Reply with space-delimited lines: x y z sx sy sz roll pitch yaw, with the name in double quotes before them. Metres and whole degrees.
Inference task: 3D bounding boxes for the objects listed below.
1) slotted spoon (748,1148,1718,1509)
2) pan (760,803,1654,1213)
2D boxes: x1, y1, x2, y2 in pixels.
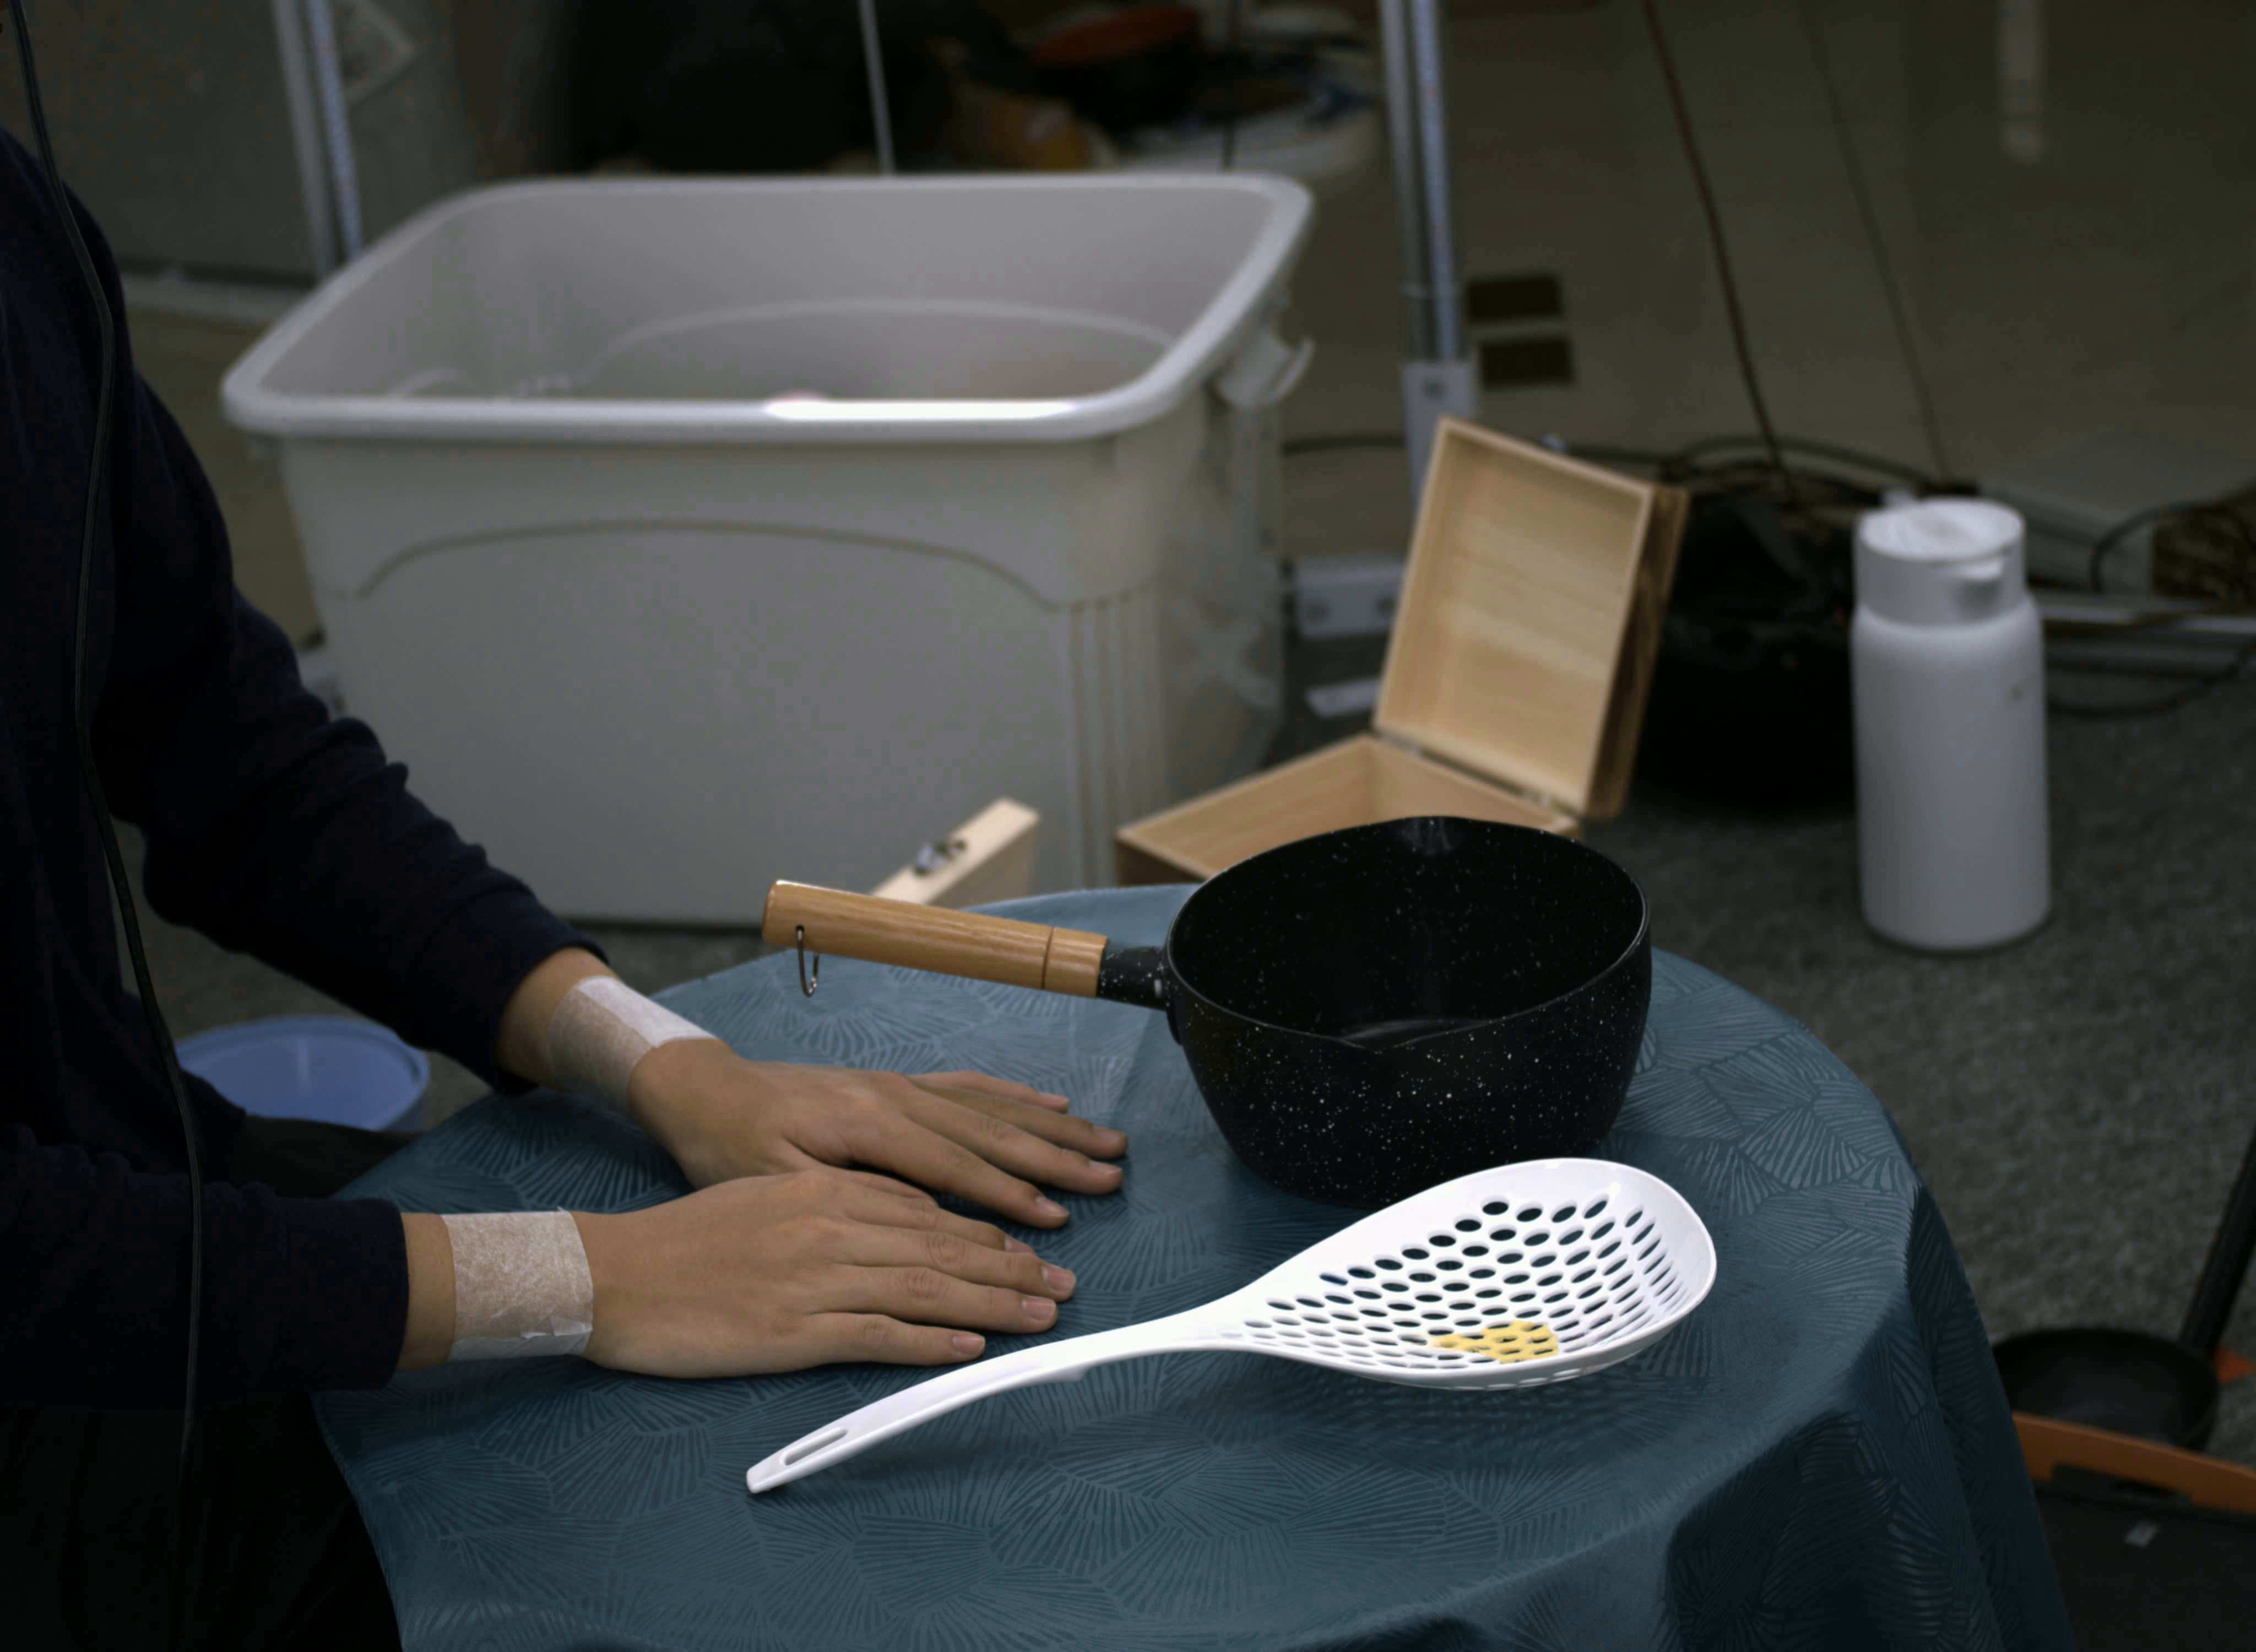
"slotted spoon" 0.035 0.185 1.989 0.347 0.051 0.135 -9 27 -8
"pan" 0.030 0.067 2.165 0.342 0.110 0.204 -1 27 8
